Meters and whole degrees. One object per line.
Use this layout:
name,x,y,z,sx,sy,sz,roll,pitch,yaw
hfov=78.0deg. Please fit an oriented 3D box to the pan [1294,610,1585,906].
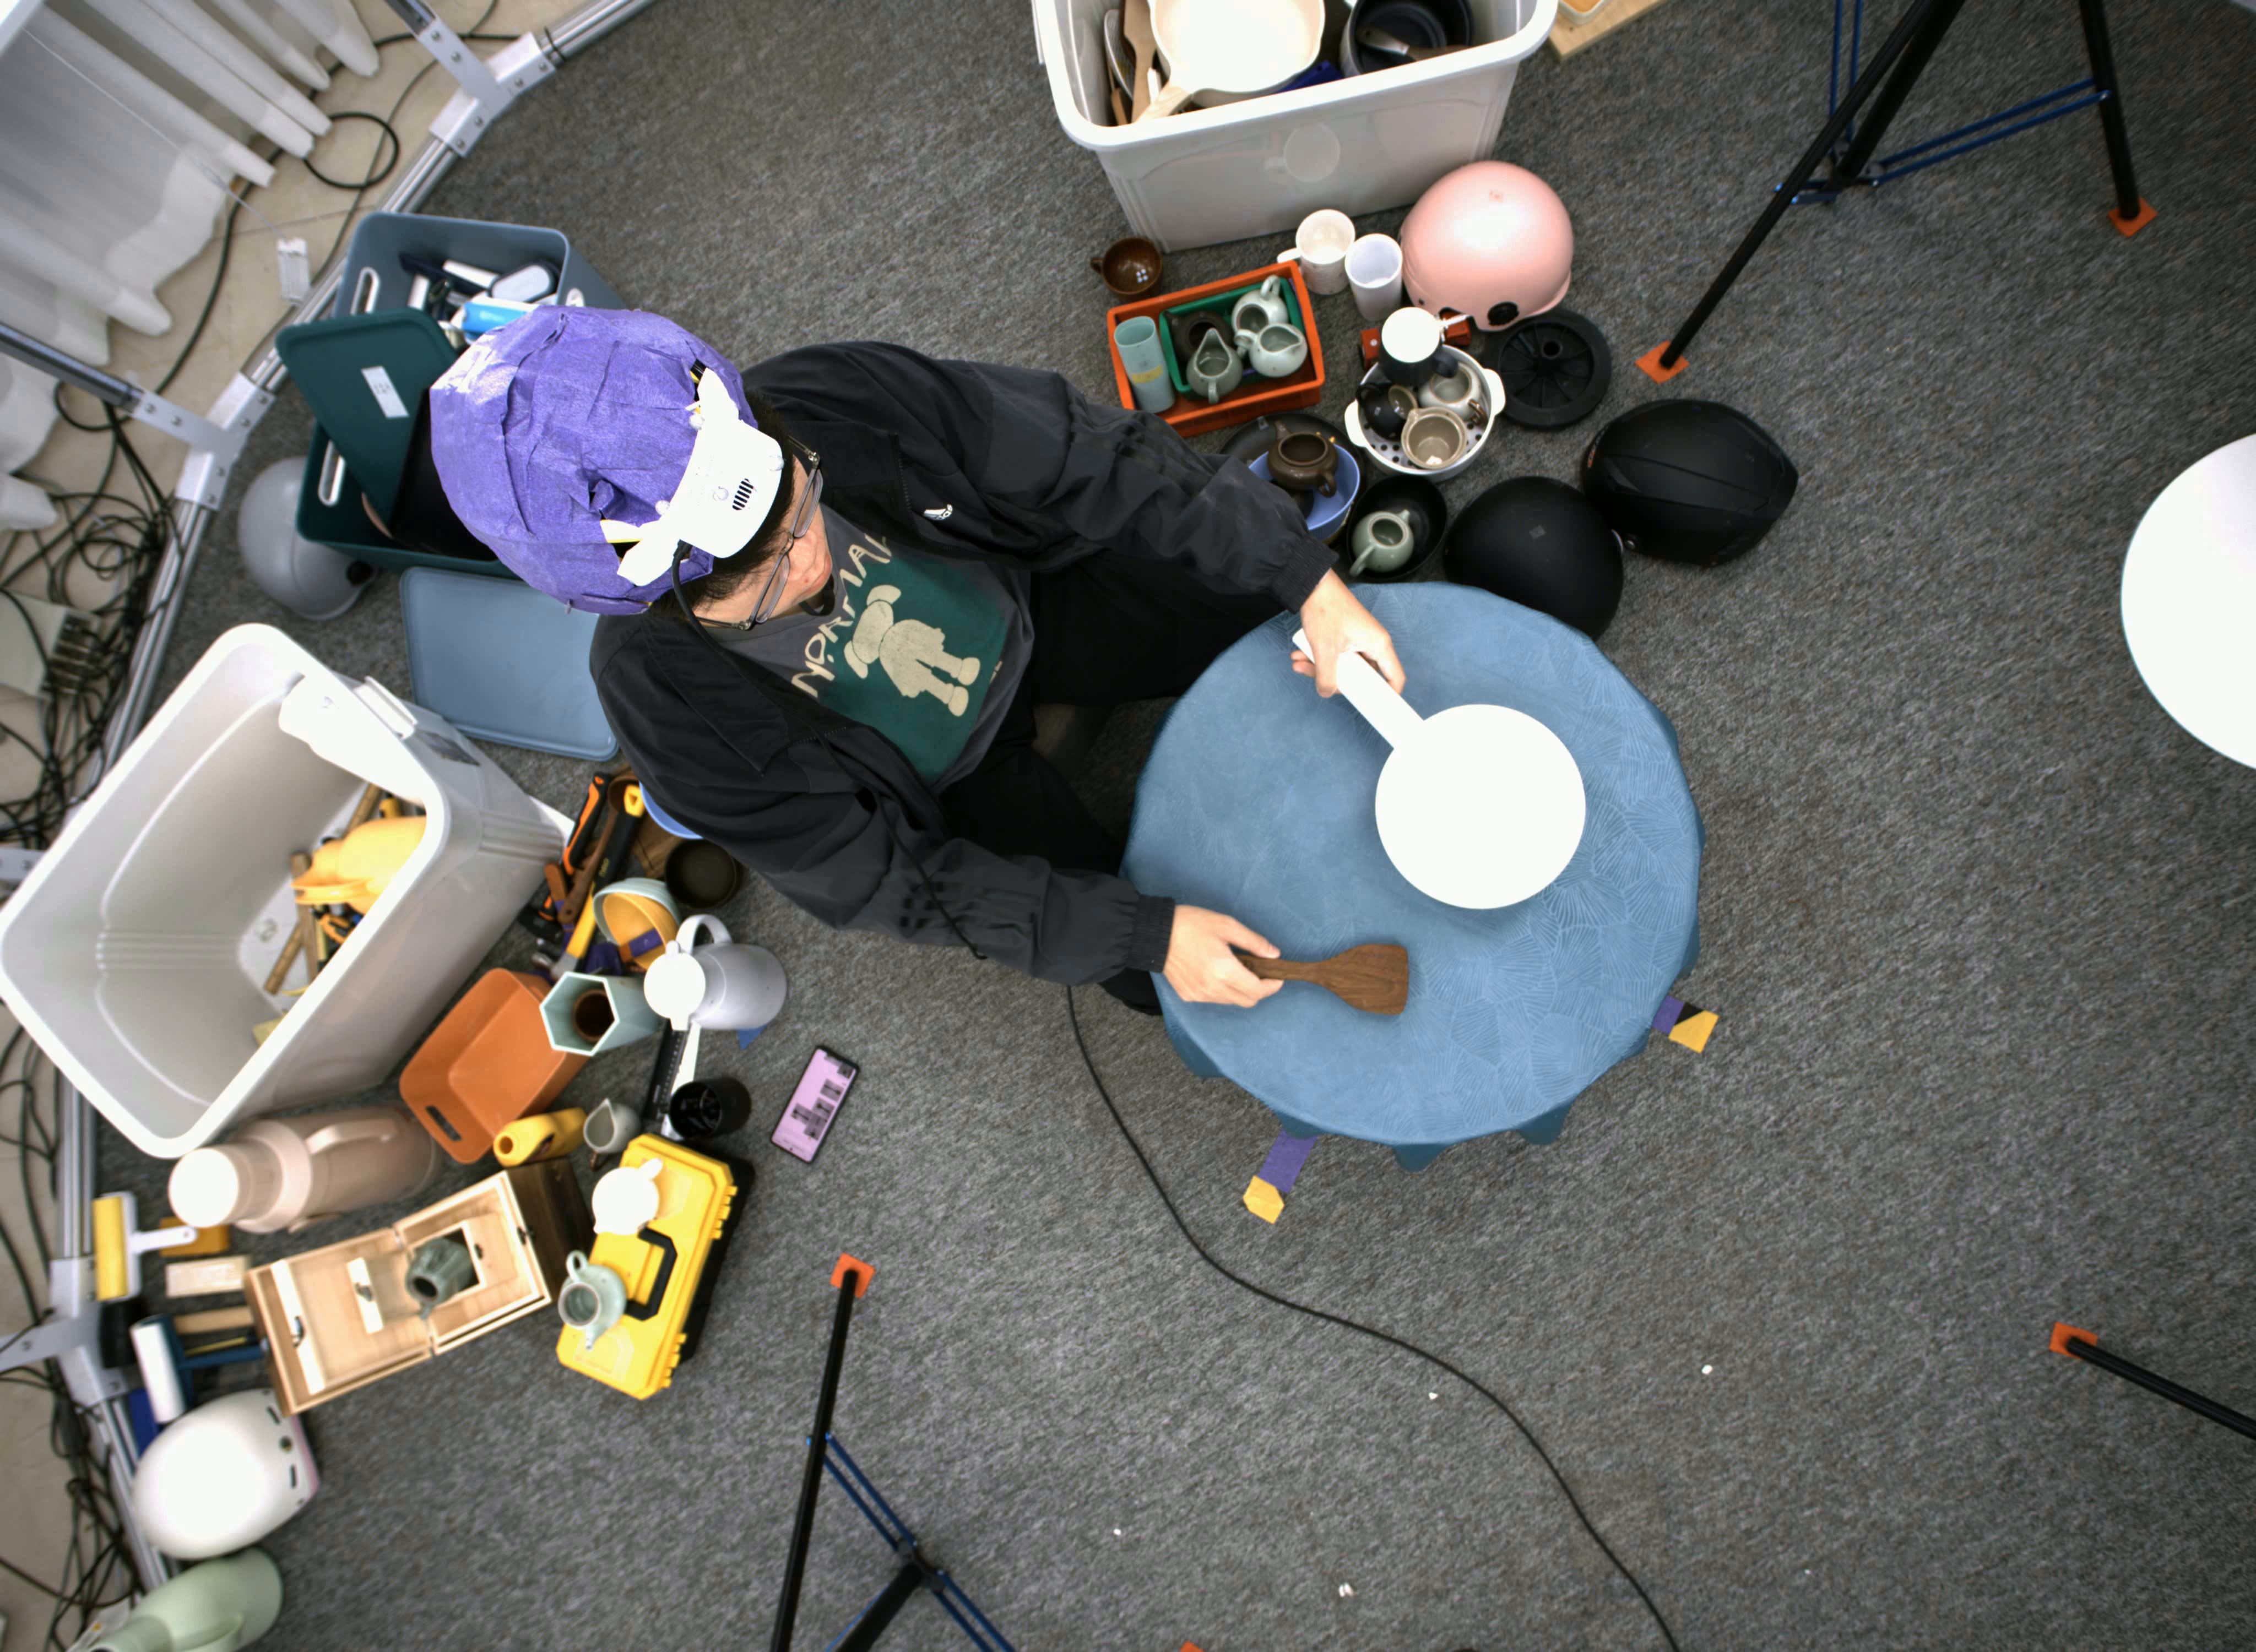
pan,0.304,-0.076,1.406,0.202,0.102,0.353,-43,79,8

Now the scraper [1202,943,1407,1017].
scraper,0.182,0.150,1.432,0.212,0.011,0.075,5,81,4
